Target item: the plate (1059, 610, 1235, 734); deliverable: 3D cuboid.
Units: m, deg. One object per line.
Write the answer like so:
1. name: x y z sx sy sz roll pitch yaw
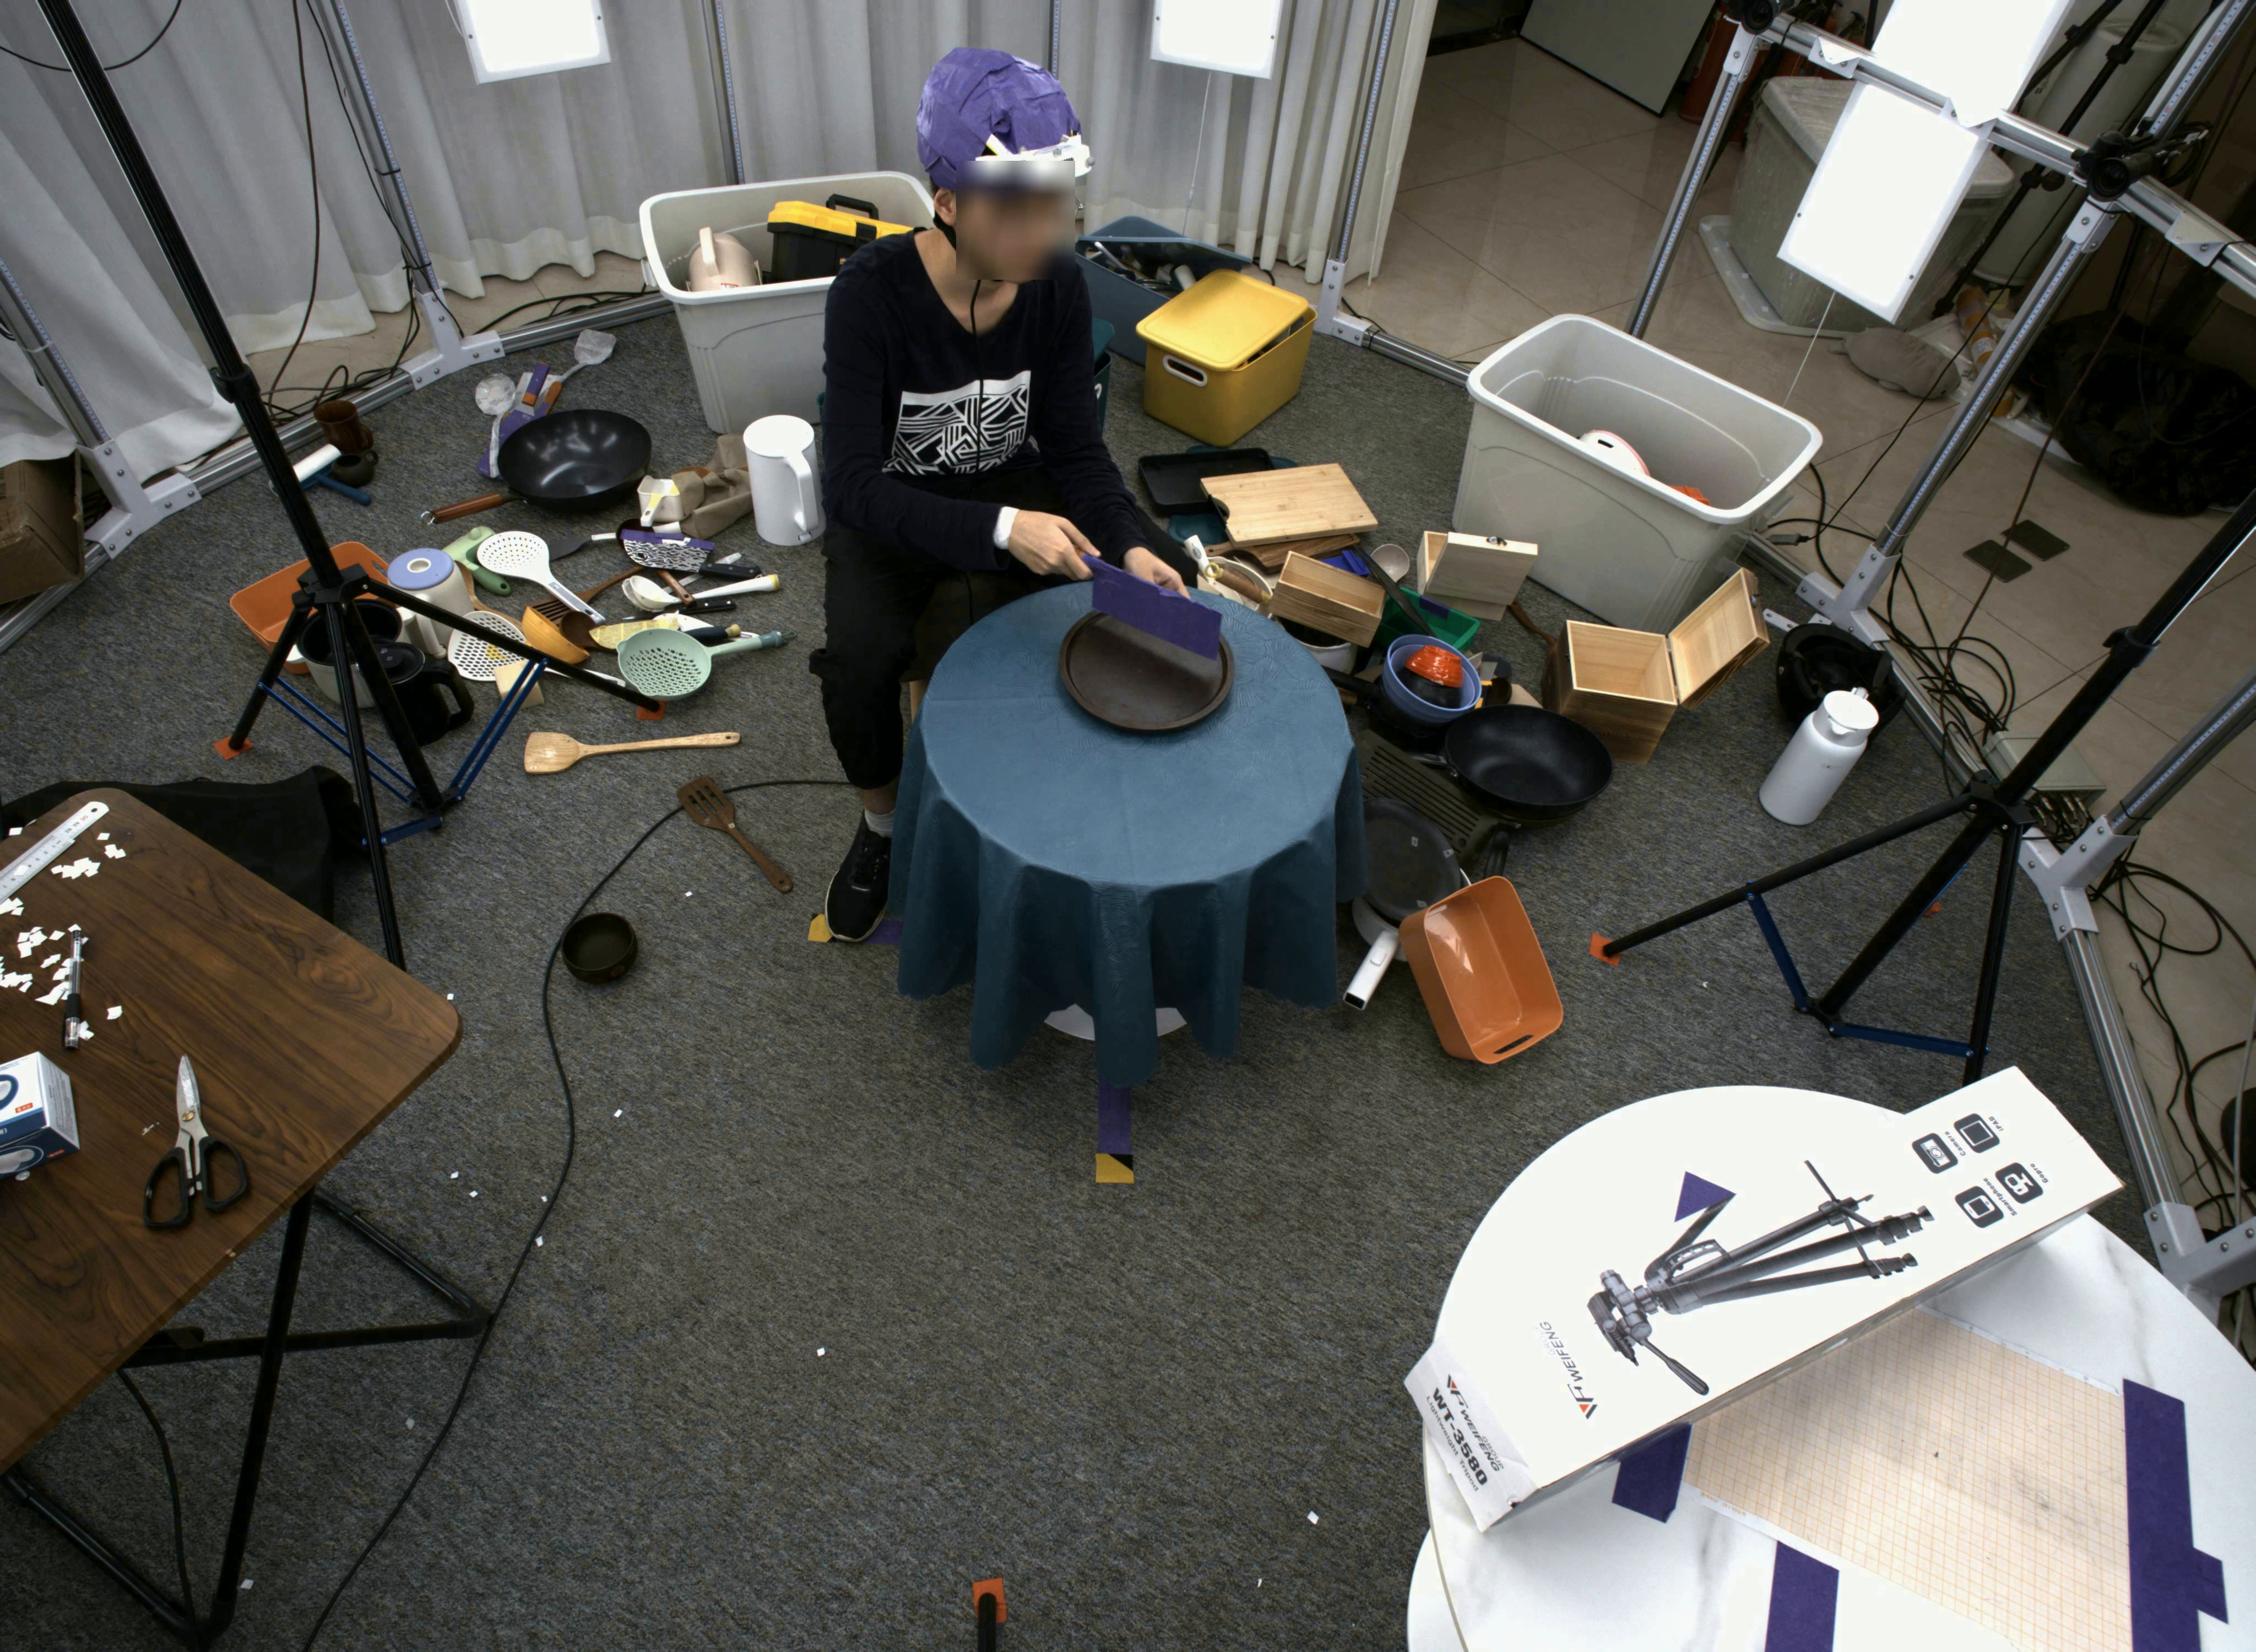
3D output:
1. plate: 0.027 -0.230 1.843 0.254 0.028 0.261 2 53 -3

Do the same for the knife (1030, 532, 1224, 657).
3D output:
1. knife: -0.005 -0.327 1.840 0.318 0.101 0.032 28 50 20
